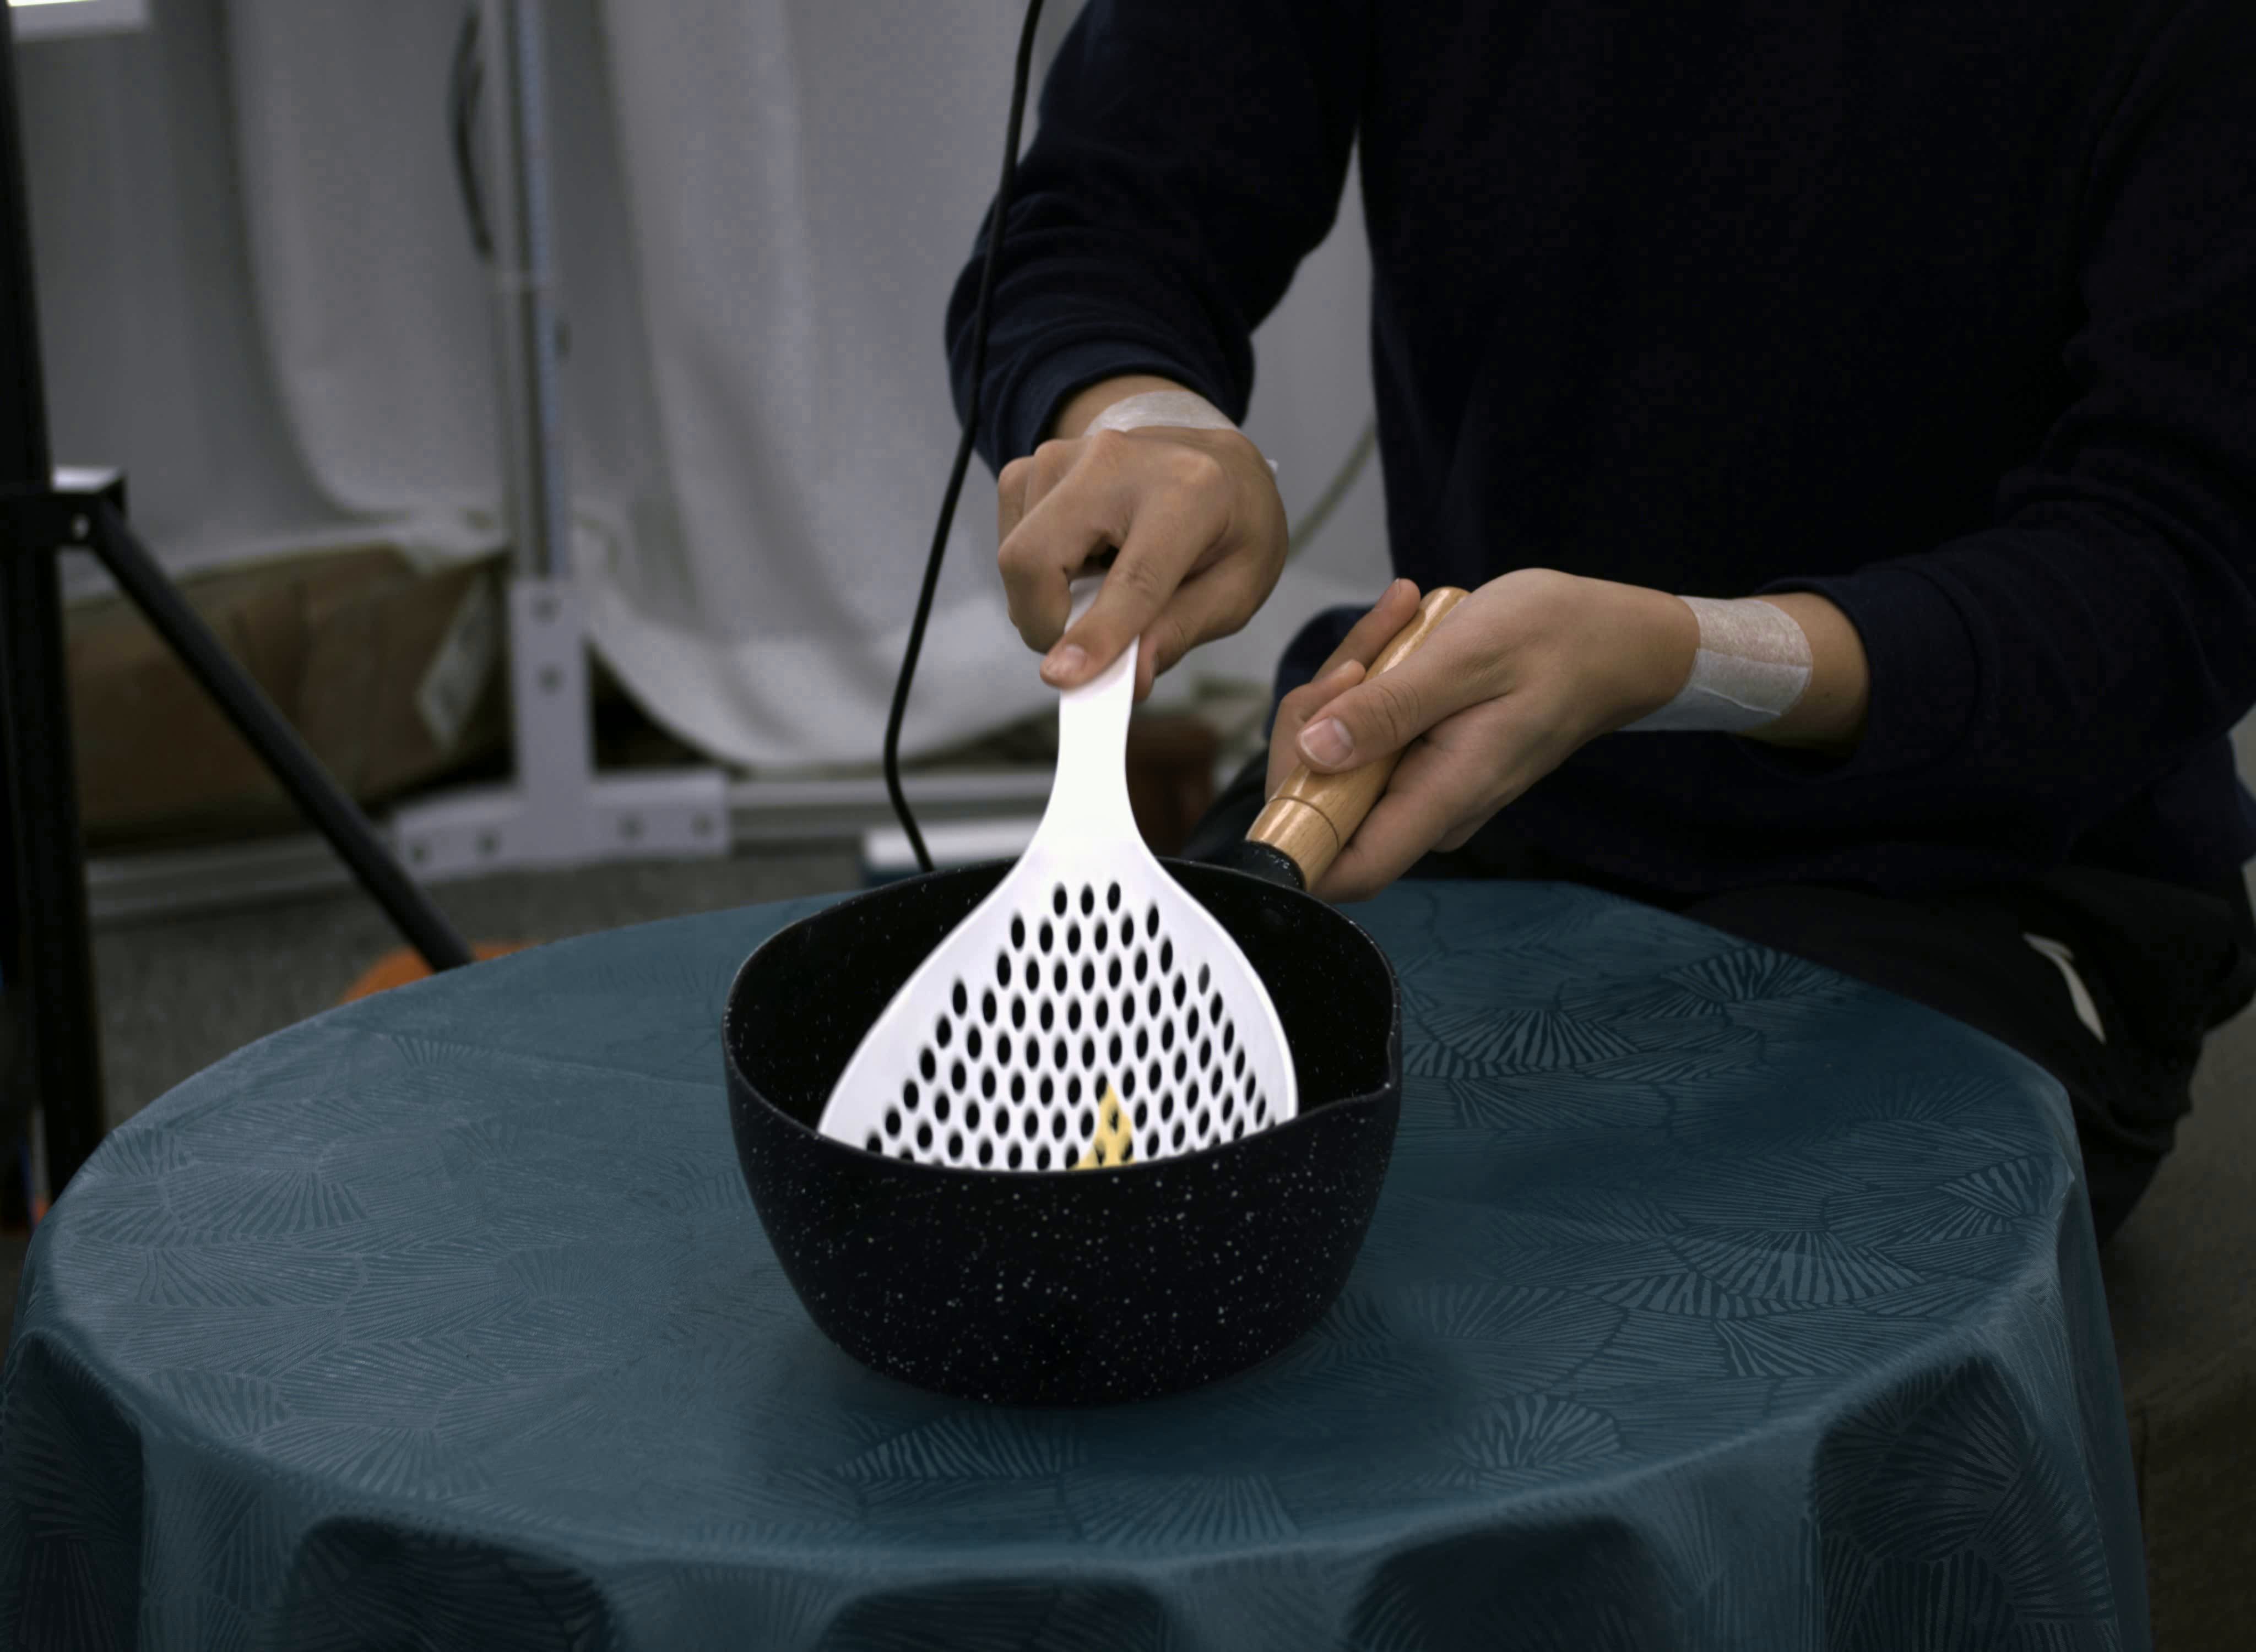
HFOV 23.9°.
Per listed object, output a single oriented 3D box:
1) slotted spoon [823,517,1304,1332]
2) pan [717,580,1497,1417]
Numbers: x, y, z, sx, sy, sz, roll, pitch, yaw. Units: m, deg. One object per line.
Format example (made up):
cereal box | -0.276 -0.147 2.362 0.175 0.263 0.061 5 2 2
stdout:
slotted spoon | -0.013 0.016 1.507 0.137 0.049 0.351 -9 46 11
pan | 0.020 0.043 1.502 0.211 0.108 0.338 9 30 28
